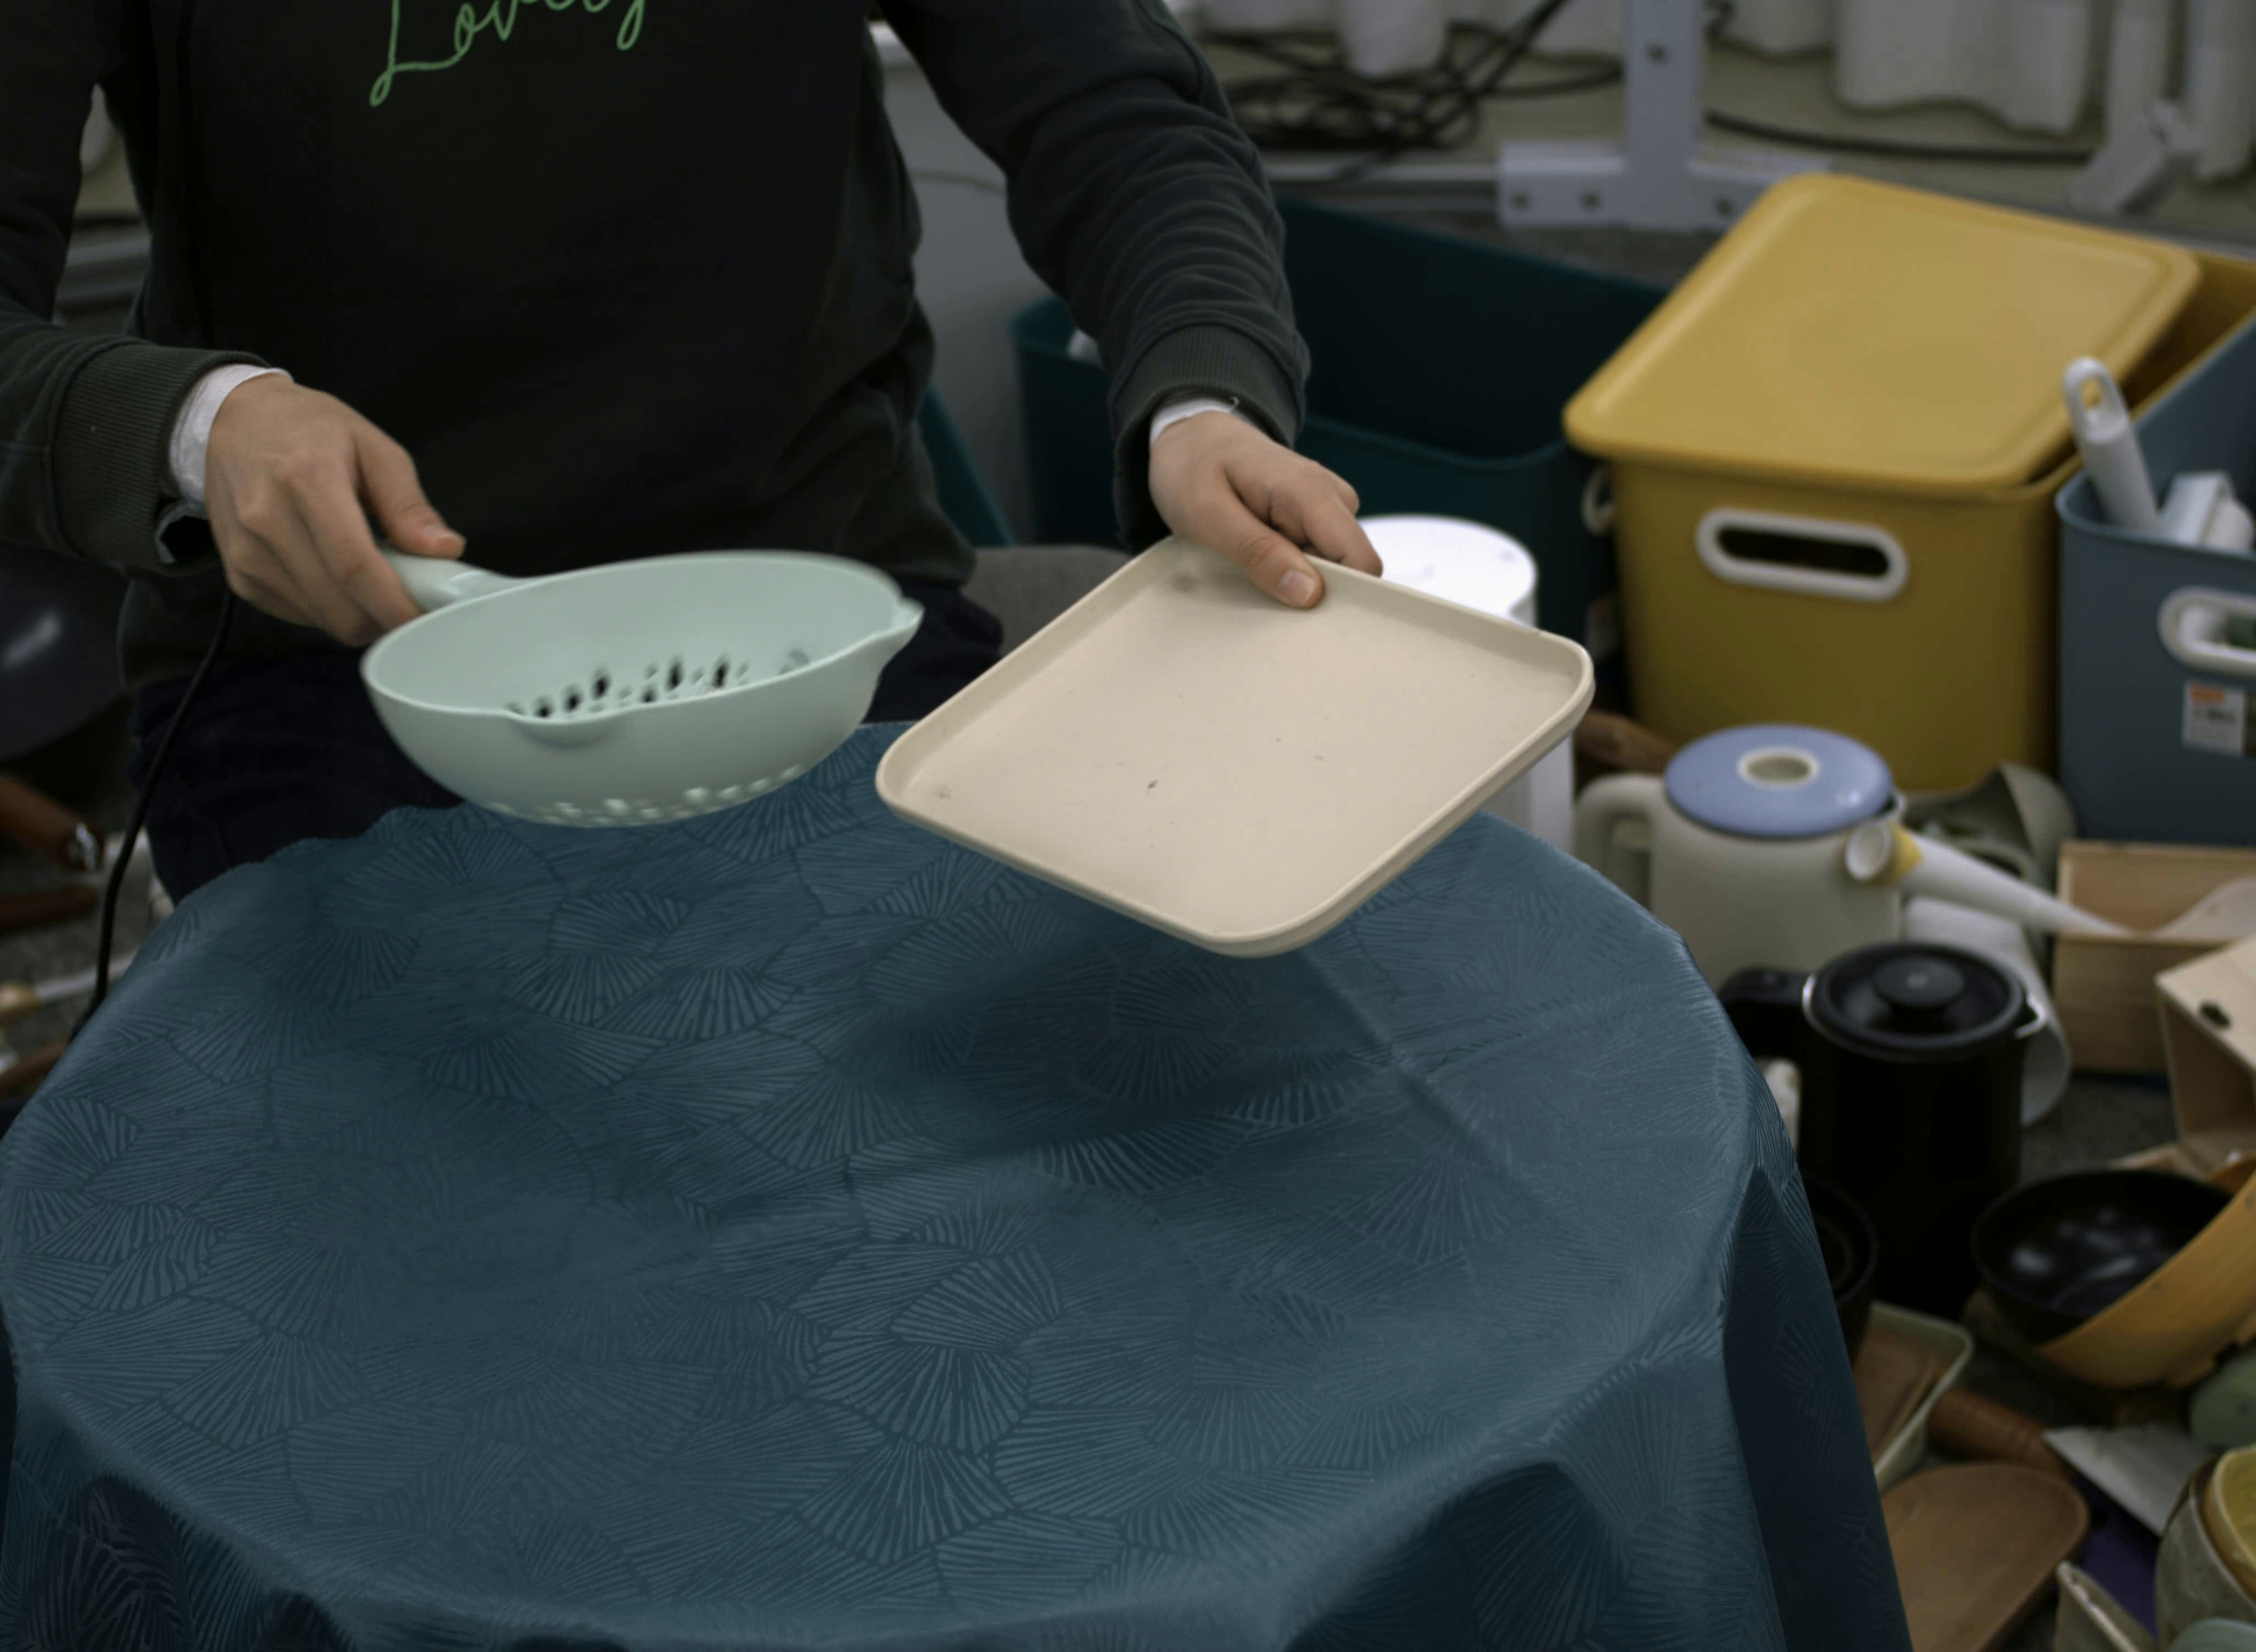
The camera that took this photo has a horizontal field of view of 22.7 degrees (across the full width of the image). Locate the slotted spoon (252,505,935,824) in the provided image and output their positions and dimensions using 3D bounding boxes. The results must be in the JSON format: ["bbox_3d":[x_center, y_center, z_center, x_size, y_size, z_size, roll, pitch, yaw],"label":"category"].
[{"bbox_3d":[-0.205,-0.070,1.847,0.171,0.074,0.359,-18,29,-31],"label":"slotted spoon"}]

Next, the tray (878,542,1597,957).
[{"bbox_3d":[0.035,-0.027,1.893,0.173,0.017,0.239,-38,32,-24],"label":"tray"}]
